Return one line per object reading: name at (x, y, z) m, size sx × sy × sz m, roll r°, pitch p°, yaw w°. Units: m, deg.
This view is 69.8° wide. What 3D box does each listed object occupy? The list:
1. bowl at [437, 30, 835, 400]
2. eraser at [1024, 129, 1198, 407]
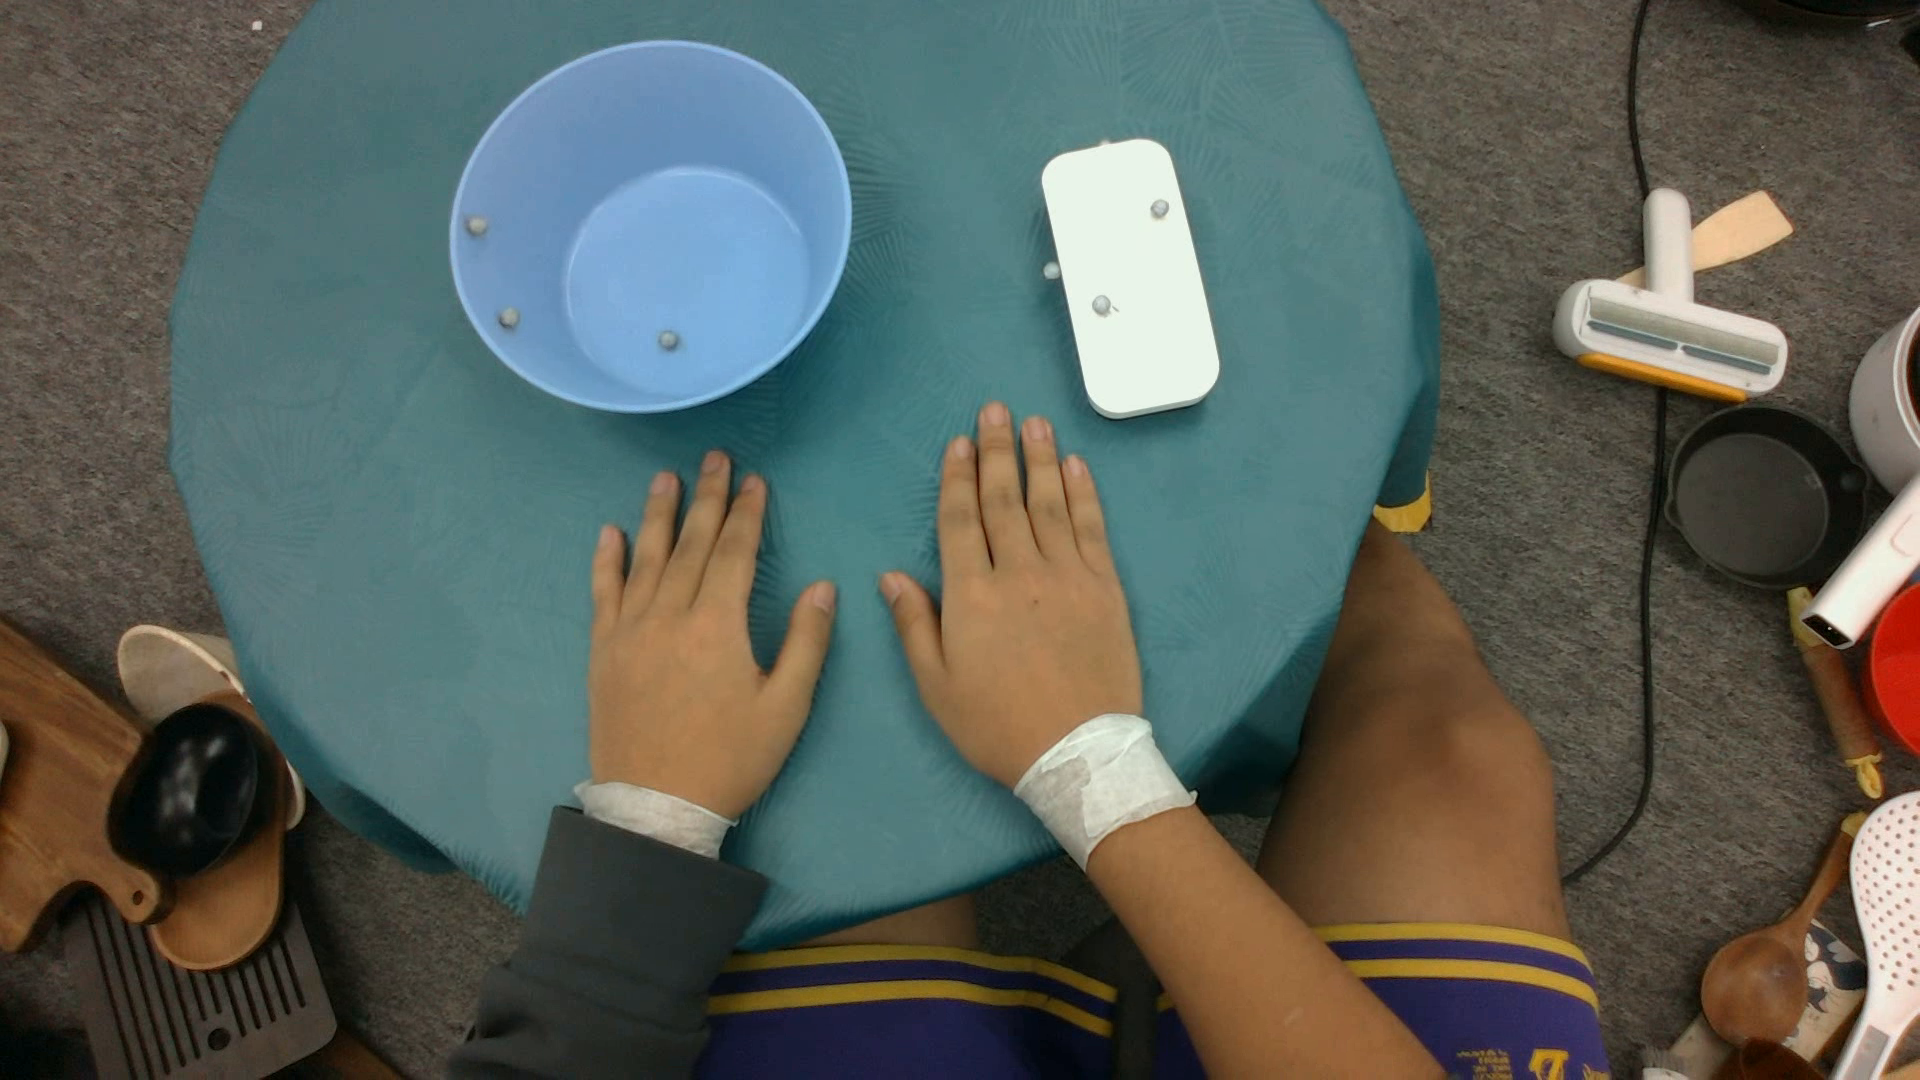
bowl at (-0.139, -0.137, 0.628) m, size 0.176 × 0.070 × 0.176 m, roll -1°, pitch 76°, yaw 3°
eraser at (0.067, -0.127, 0.636) m, size 0.063 × 0.034 × 0.131 m, roll -10°, pitch 73°, yaw 2°
